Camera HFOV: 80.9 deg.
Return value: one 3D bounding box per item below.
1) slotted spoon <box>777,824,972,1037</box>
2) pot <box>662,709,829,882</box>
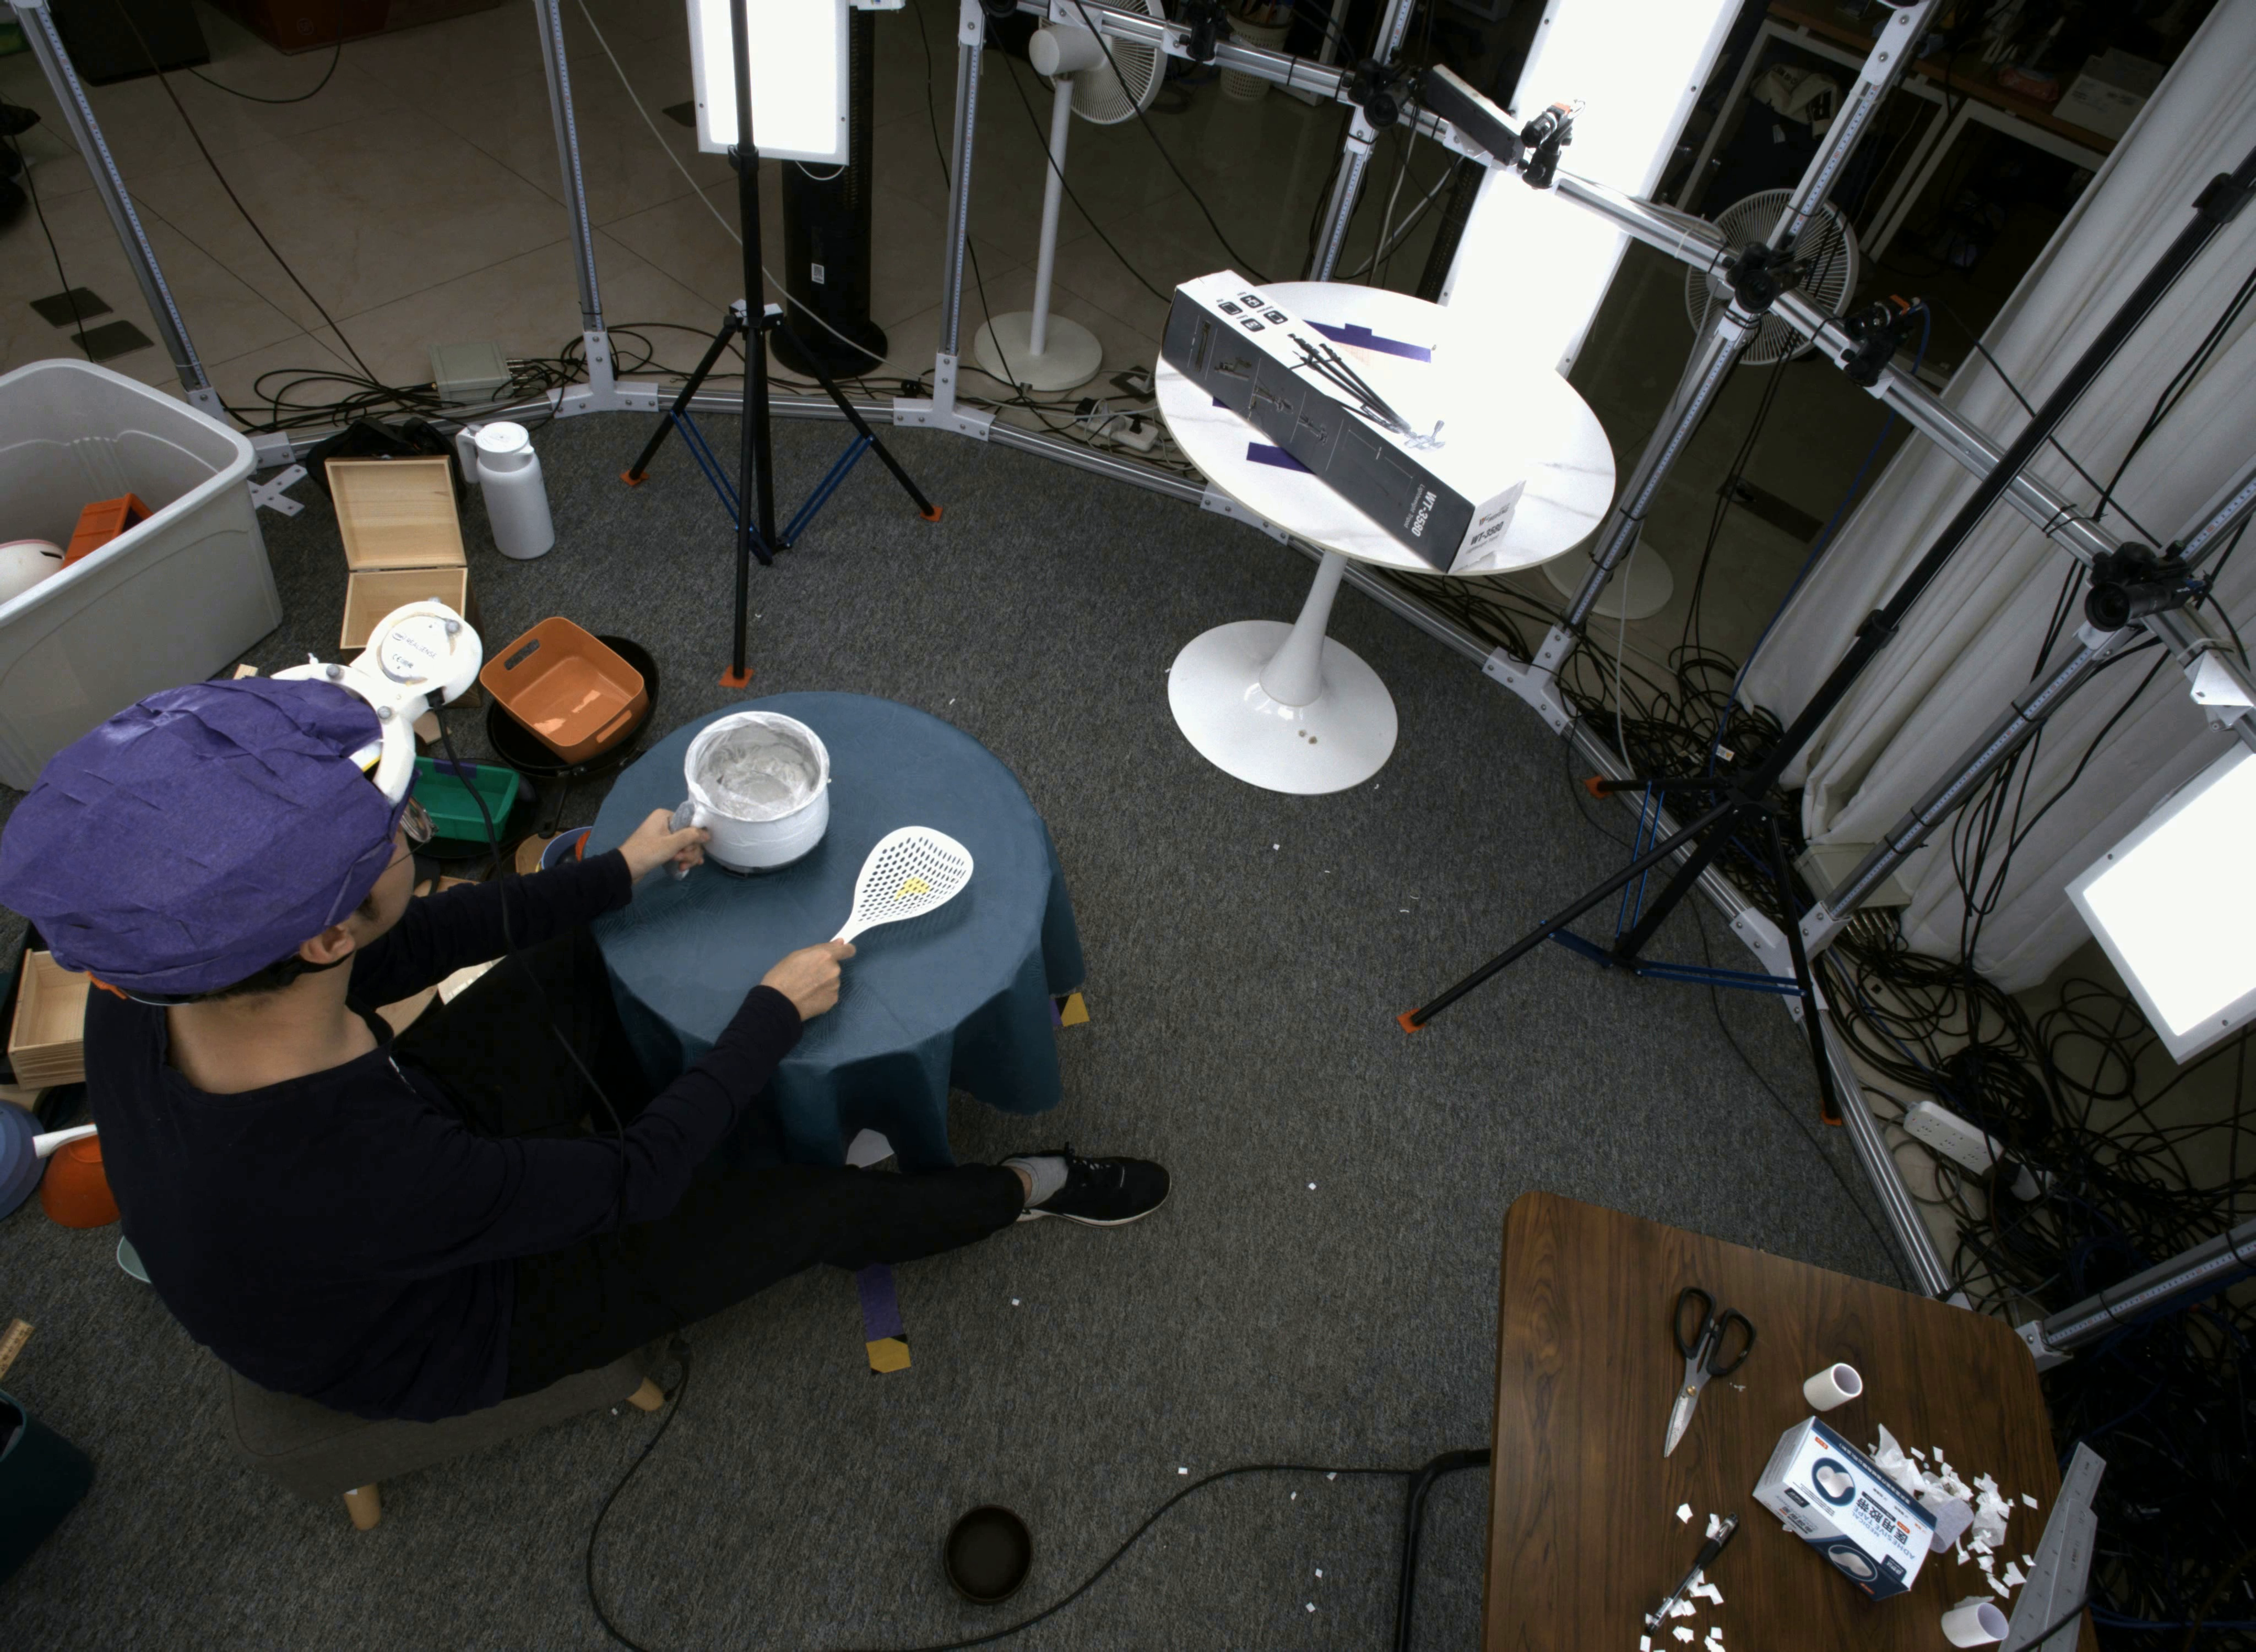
[{"bbox_3d":[-0.330,0.125,1.630,0.133,0.051,0.347,28,48,15],"label":"slotted spoon"},{"bbox_3d":[-0.492,-0.026,1.645,0.175,0.139,0.234,38,54,16],"label":"pot"}]
